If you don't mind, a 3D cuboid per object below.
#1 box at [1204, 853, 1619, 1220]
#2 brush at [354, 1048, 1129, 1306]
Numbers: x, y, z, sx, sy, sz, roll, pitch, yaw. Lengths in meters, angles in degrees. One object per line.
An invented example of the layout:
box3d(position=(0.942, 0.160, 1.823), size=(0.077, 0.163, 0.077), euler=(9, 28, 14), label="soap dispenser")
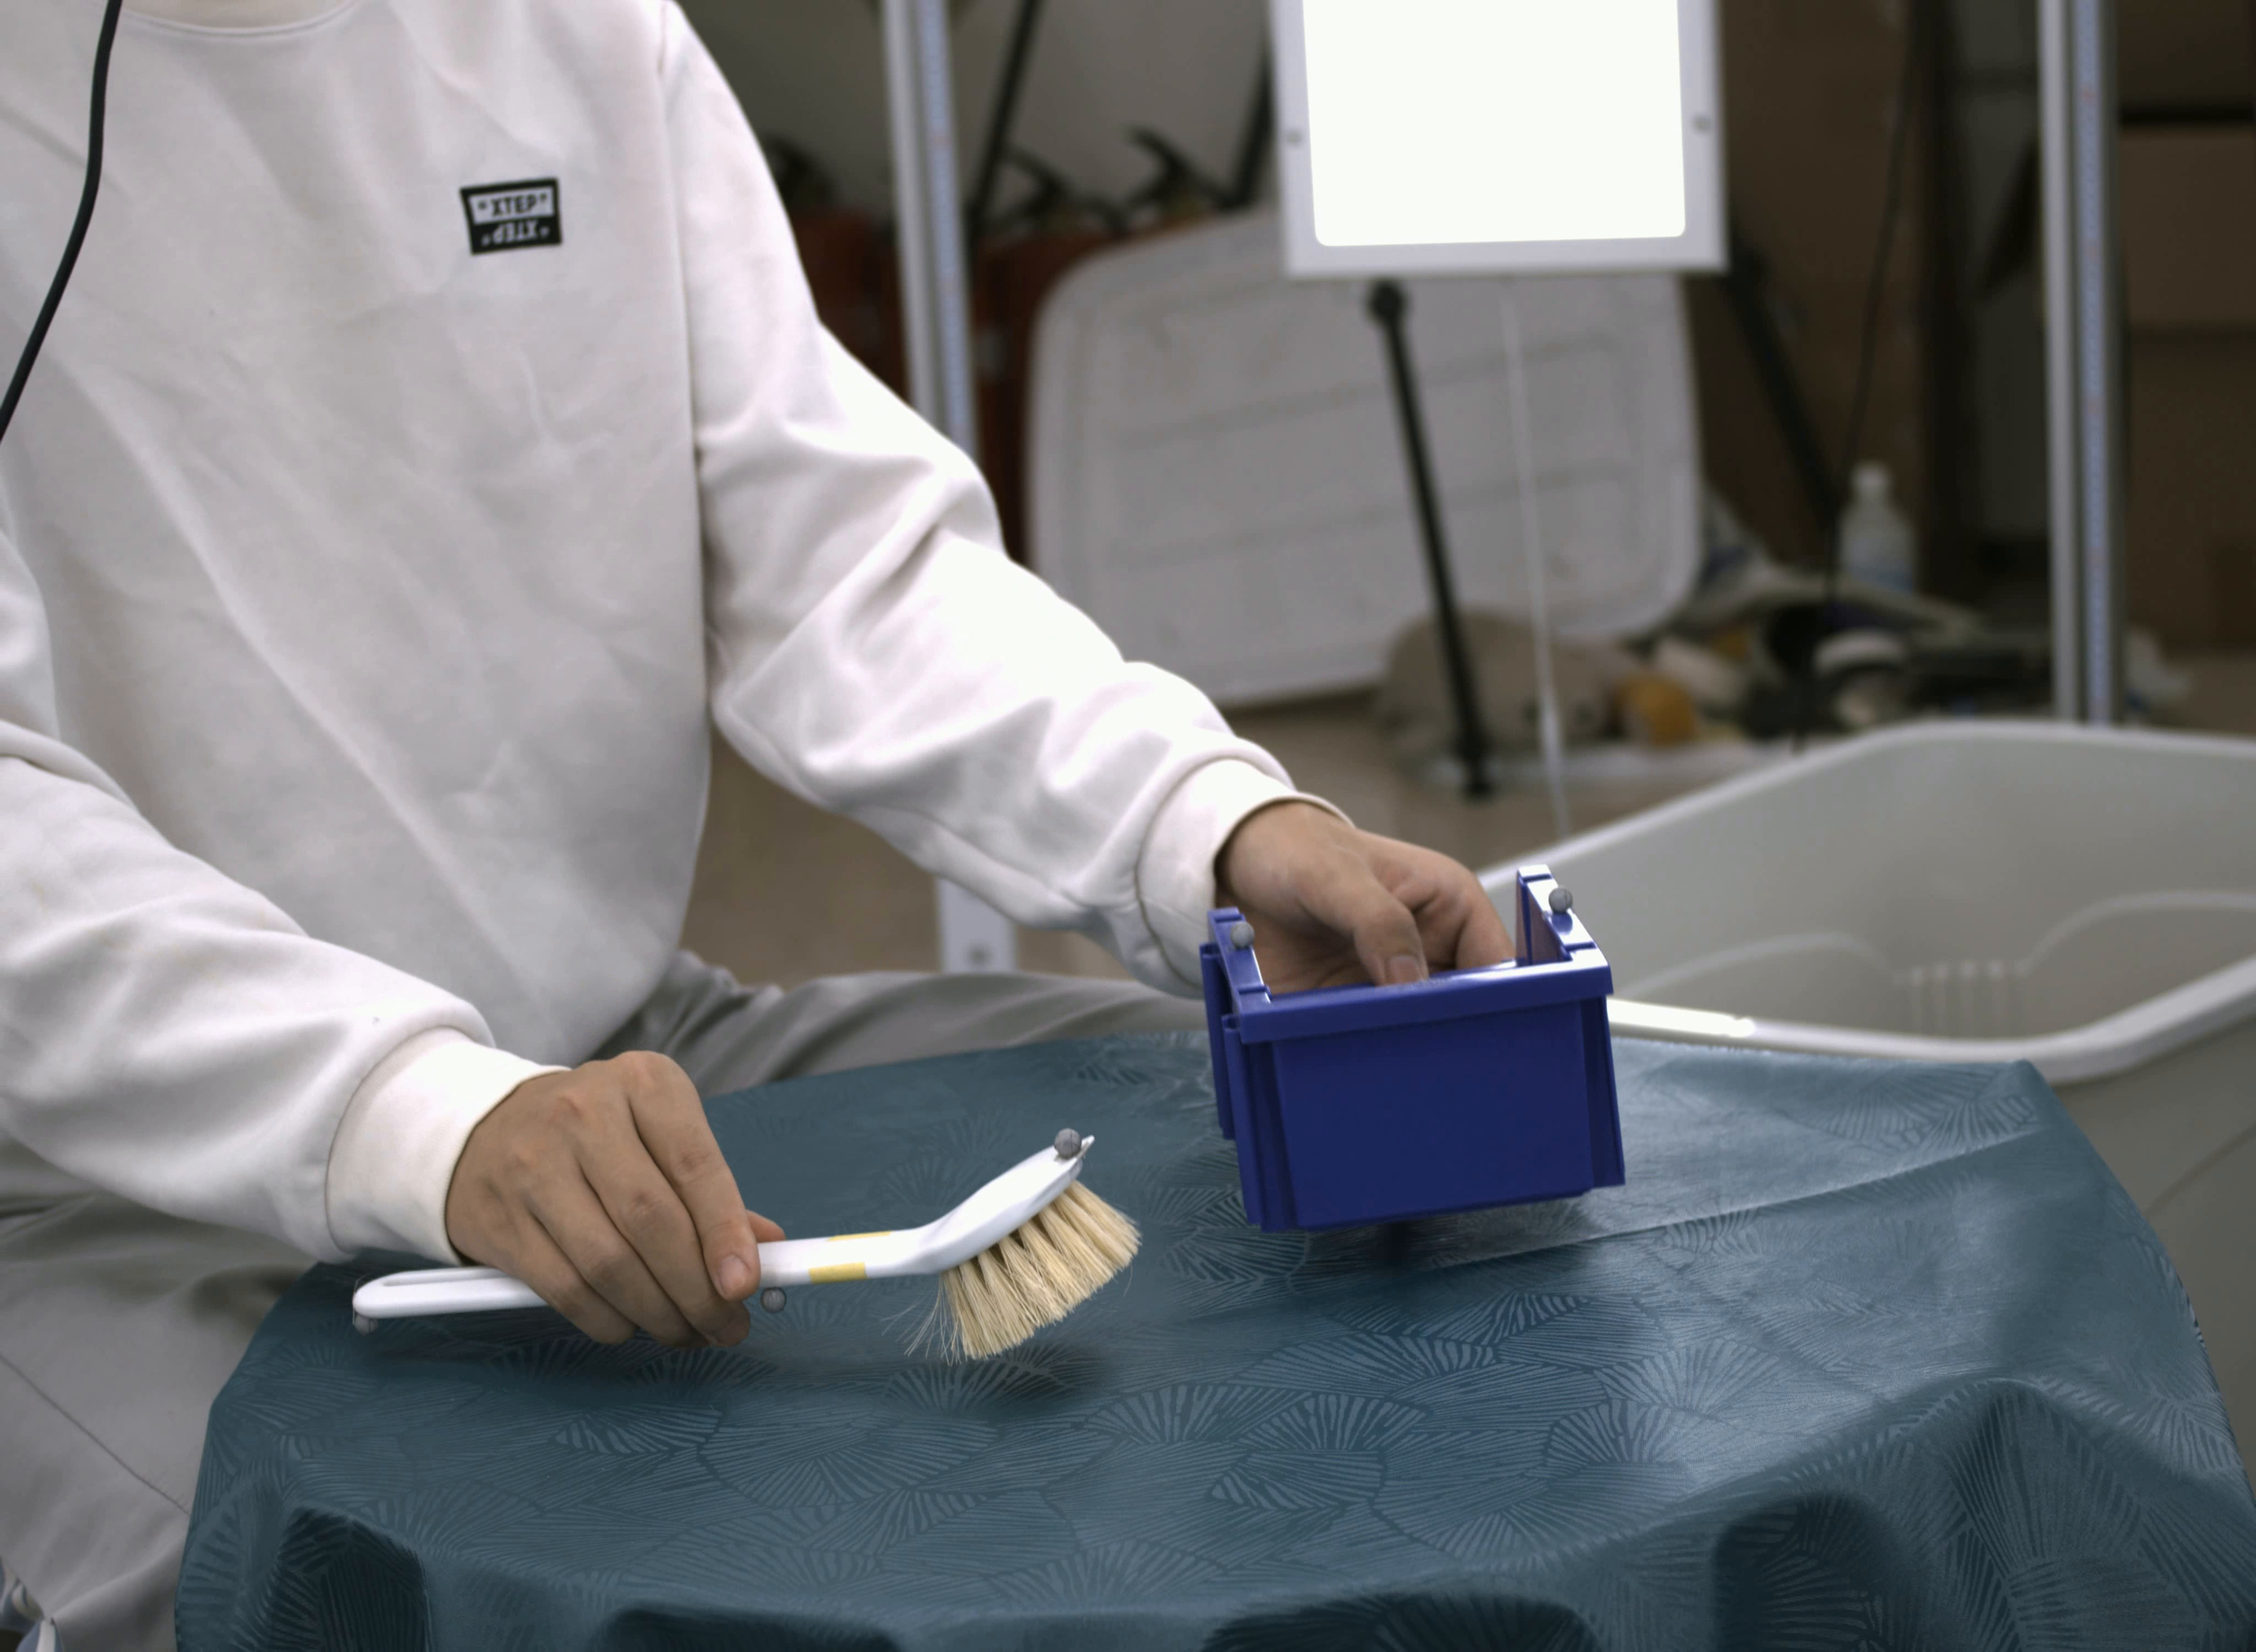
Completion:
box3d(position=(0.092, 0.068, 1.850), size=(0.124, 0.082, 0.179), euler=(-8, 14, 0), label="box")
box3d(position=(-0.122, 0.135, 1.761), size=(0.270, 0.056, 0.067), euler=(-19, 1, 19), label="brush")
